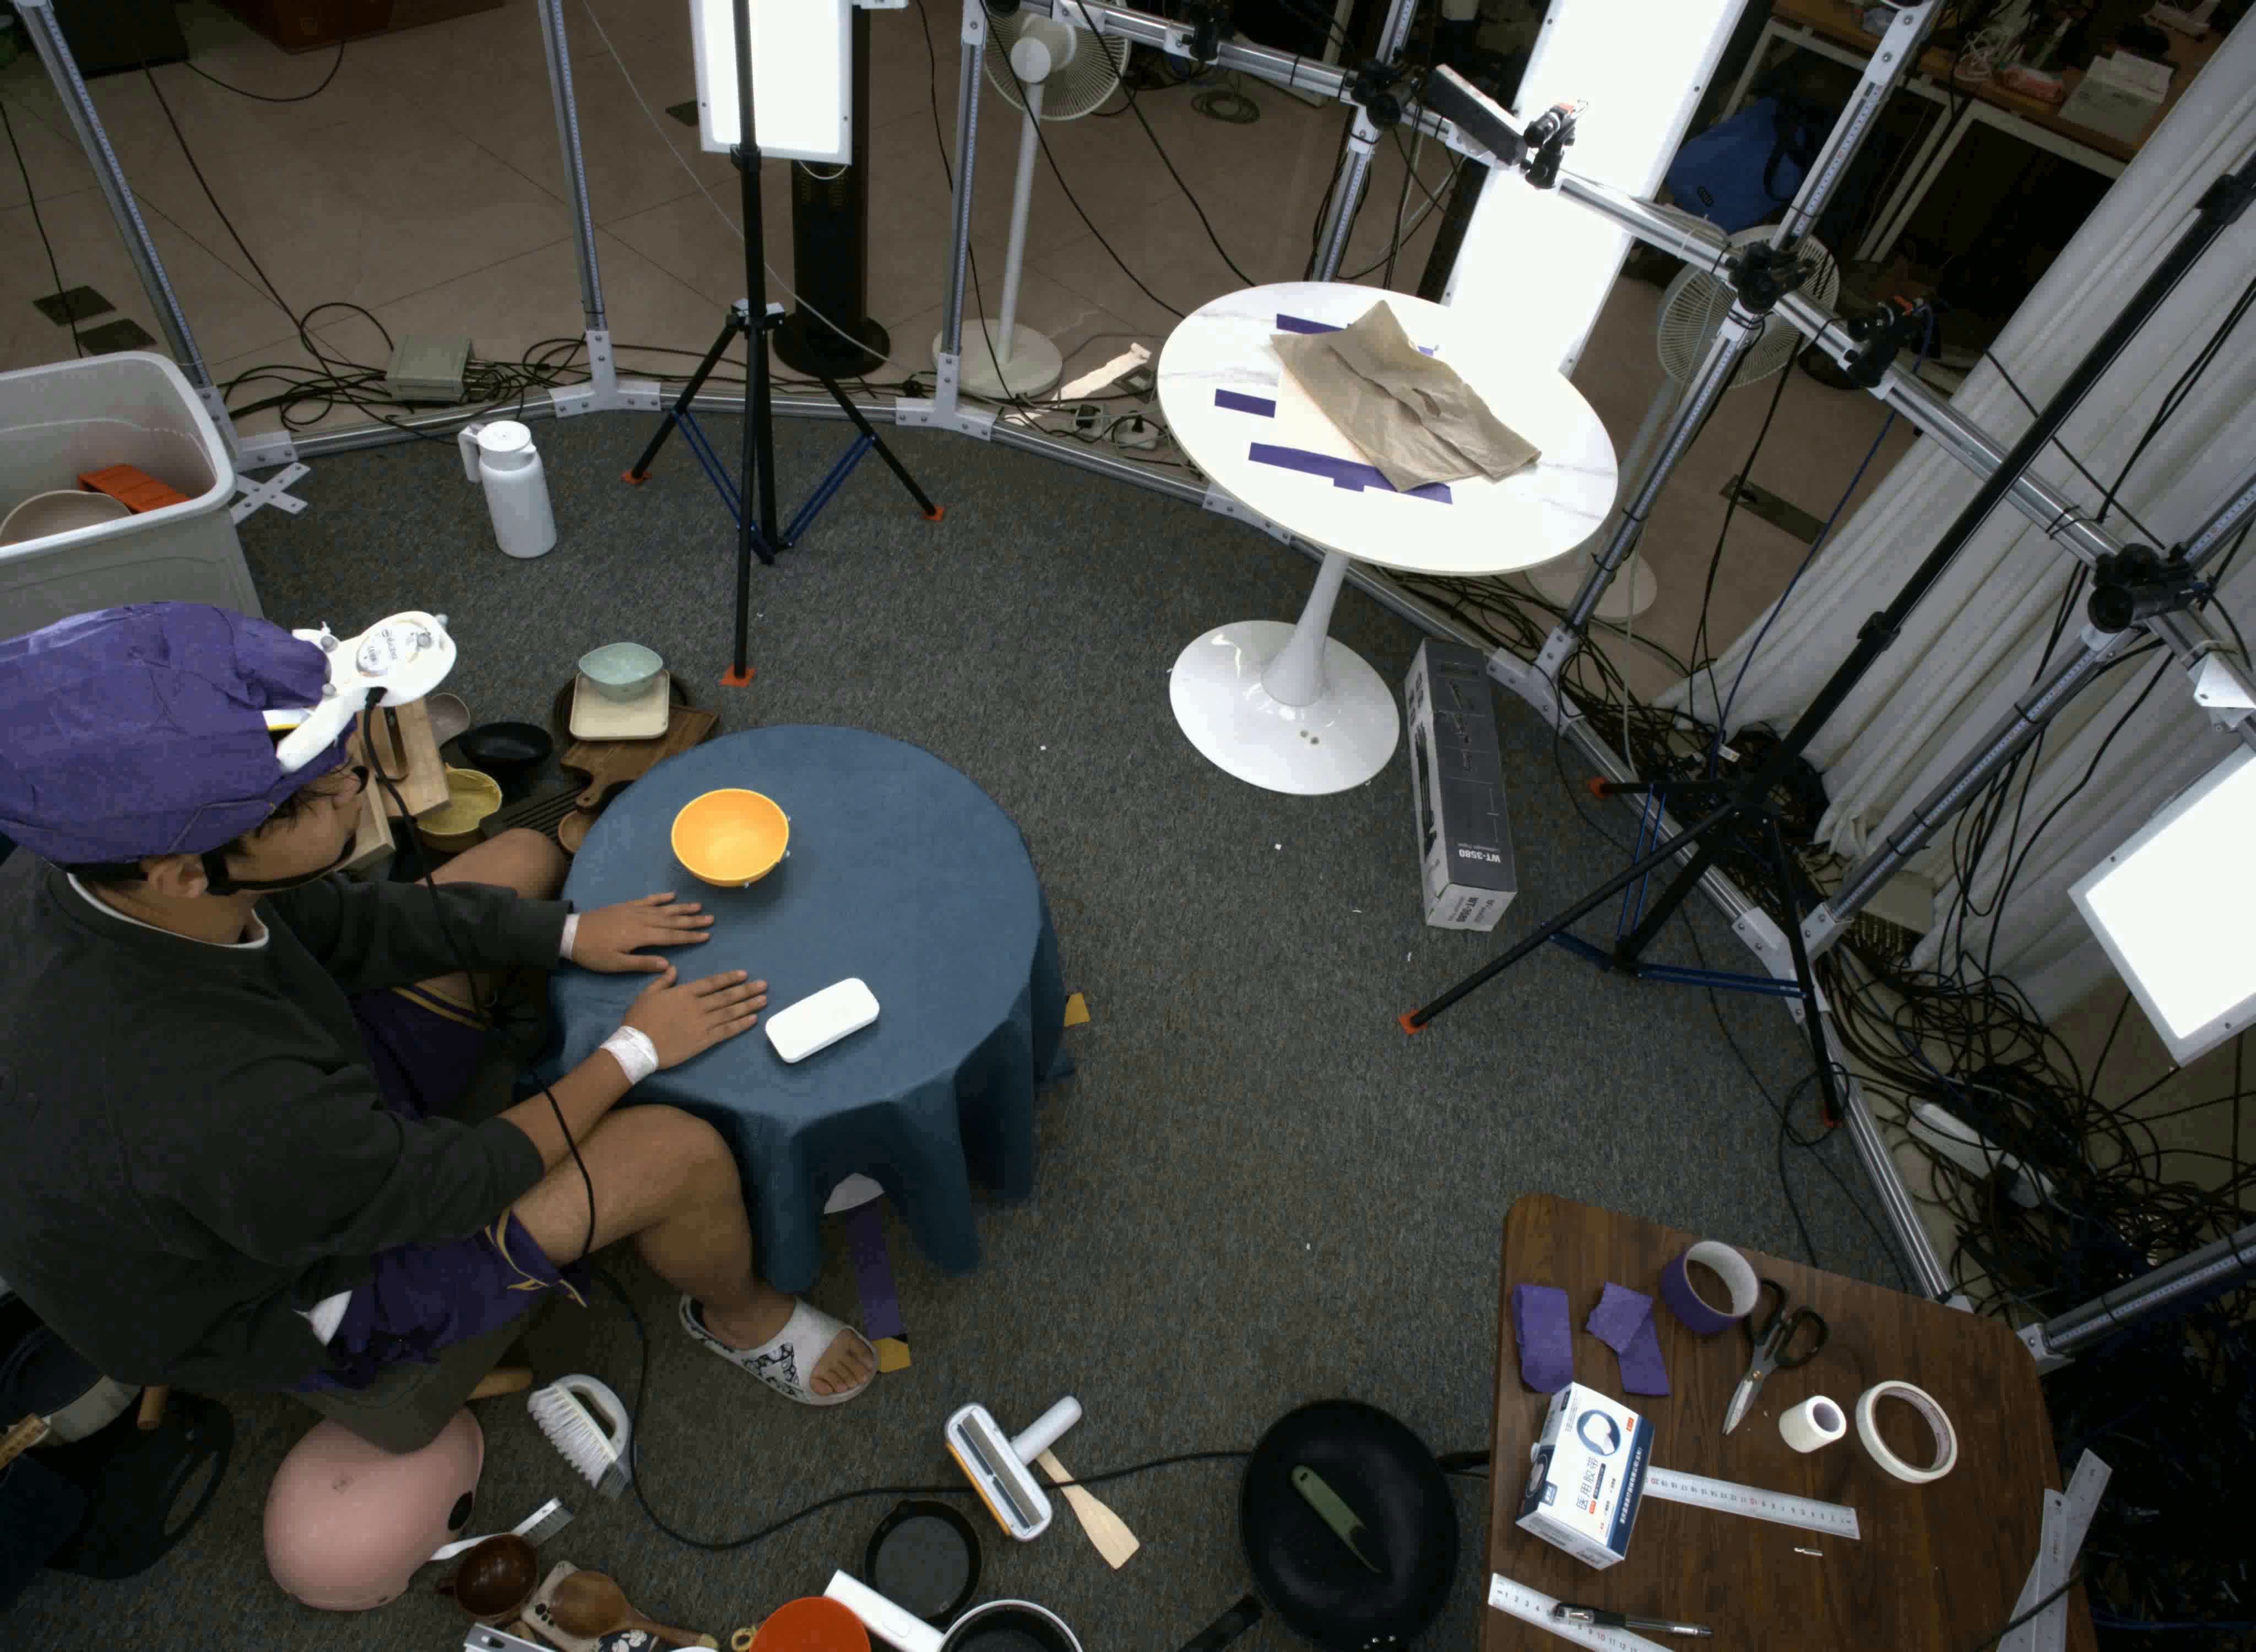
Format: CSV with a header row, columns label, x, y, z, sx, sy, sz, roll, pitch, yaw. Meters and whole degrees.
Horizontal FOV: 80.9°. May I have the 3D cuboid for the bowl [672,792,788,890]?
label,x,y,z,sx,sy,sz,roll,pitch,yaw
bowl,-0.505,0.028,1.652,0.145,0.061,0.143,6,53,-7

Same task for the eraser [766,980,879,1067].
label,x,y,z,sx,sy,sz,roll,pitch,yaw
eraser,-0.365,0.231,1.551,0.132,0.035,0.062,-26,63,-30
